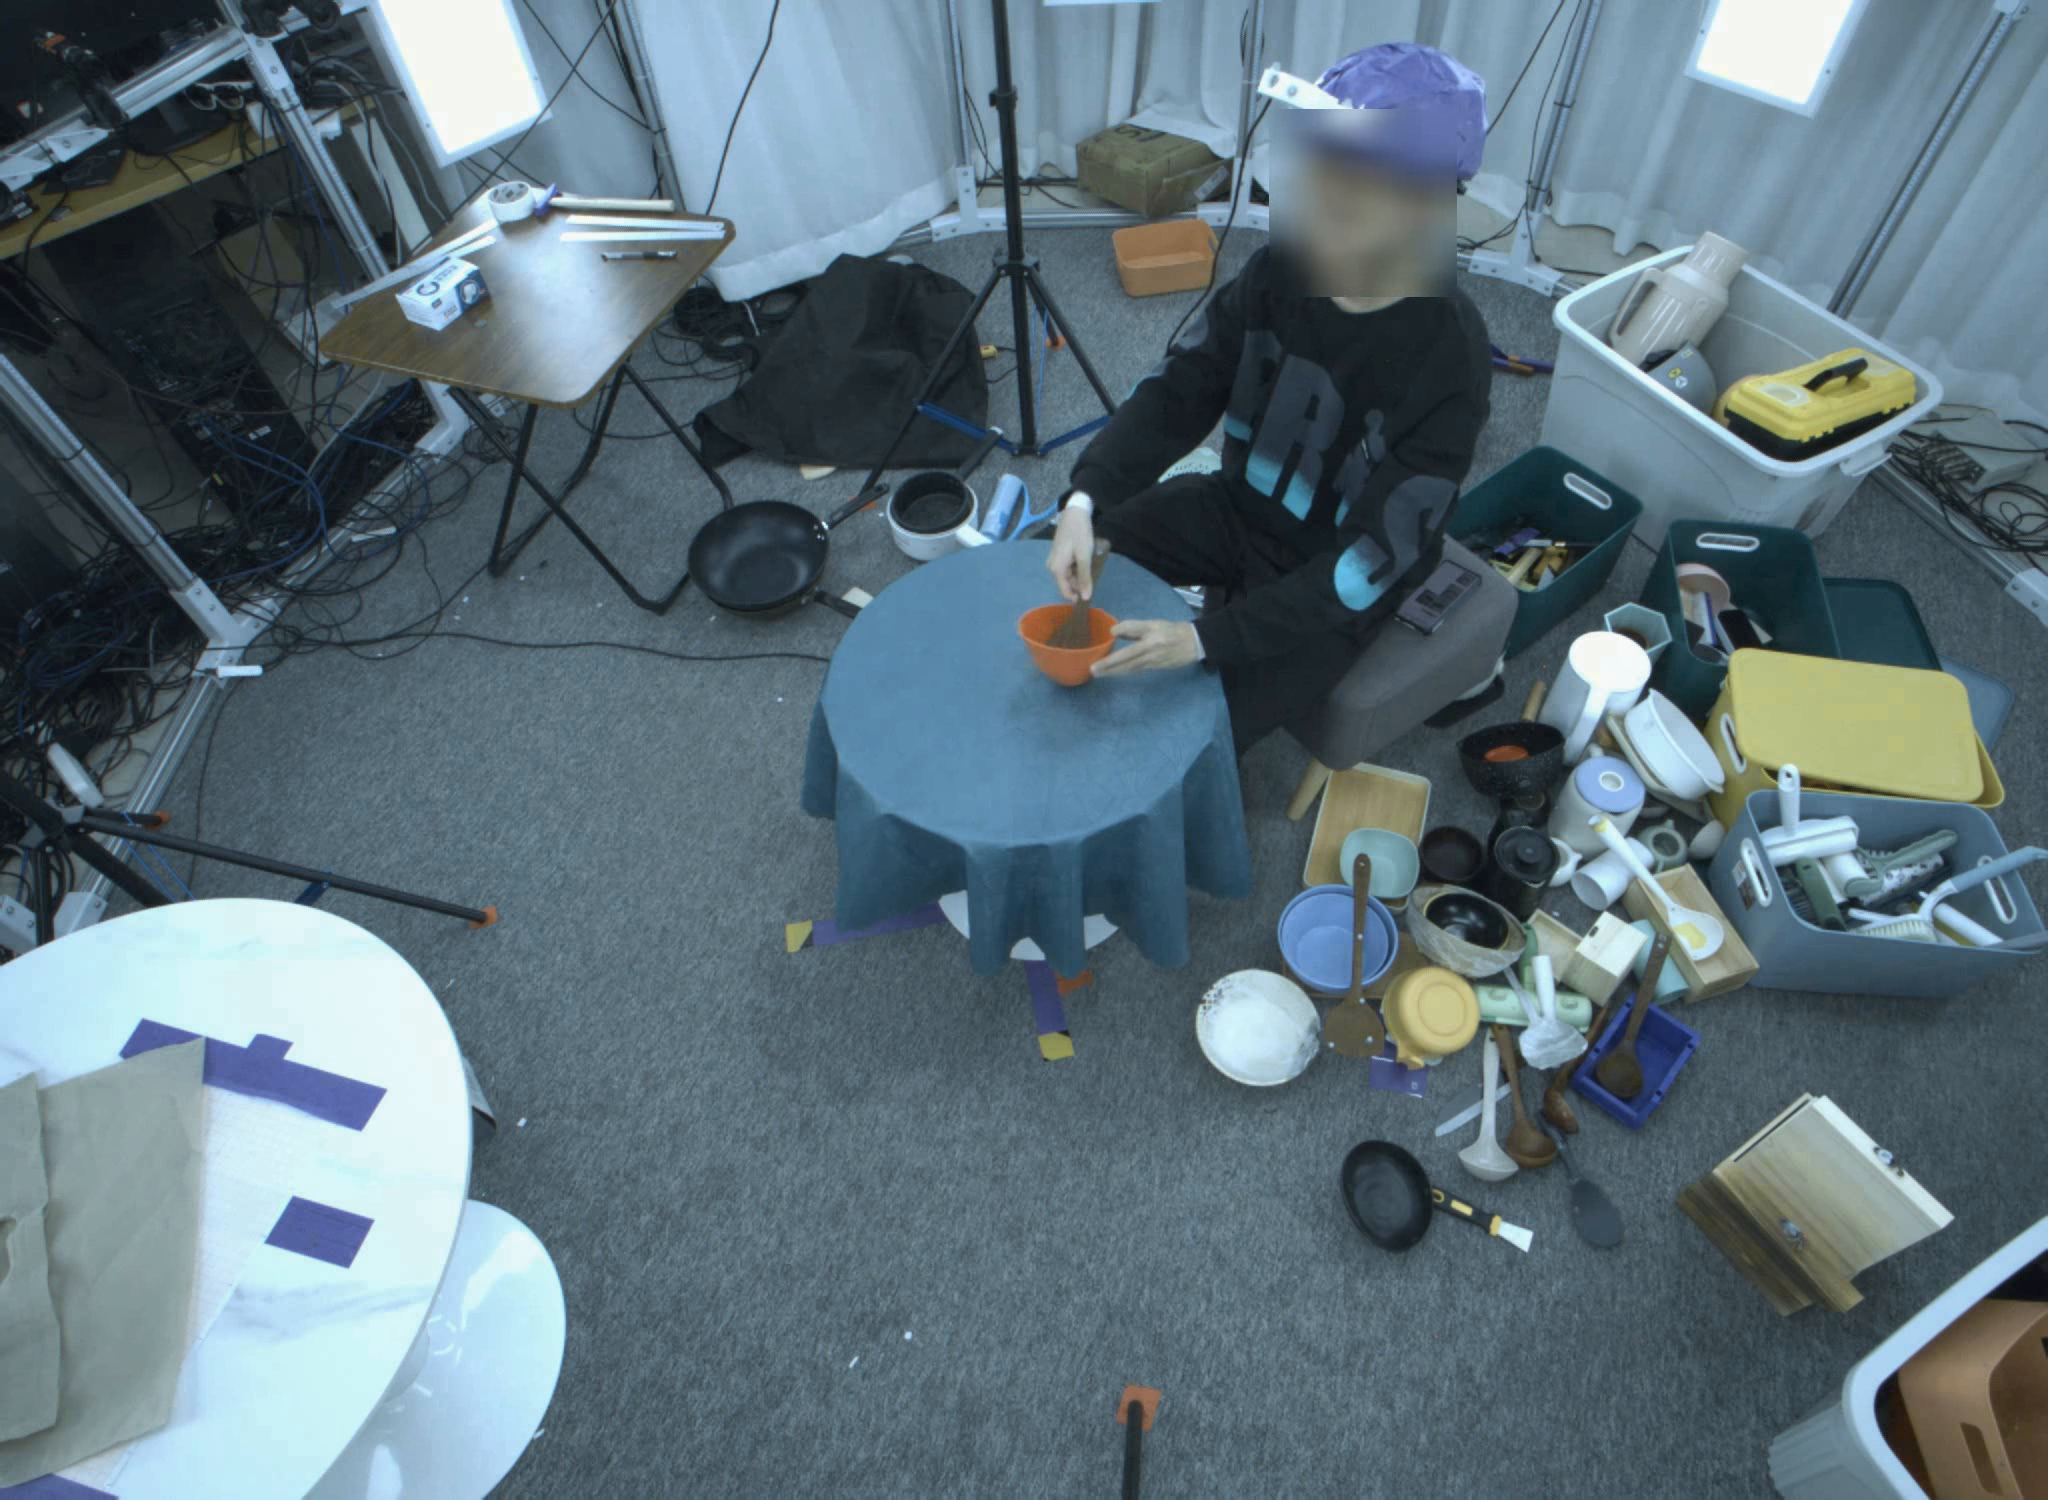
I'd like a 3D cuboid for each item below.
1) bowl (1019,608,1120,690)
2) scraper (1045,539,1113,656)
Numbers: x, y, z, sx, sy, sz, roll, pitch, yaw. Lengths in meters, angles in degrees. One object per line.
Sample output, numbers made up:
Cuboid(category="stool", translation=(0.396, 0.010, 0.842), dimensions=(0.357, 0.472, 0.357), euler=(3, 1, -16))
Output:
Cuboid(category="bowl", translation=(0.067, -0.142, 1.815), dimensions=(0.148, 0.106, 0.146), euler=(1, 43, 1))
Cuboid(category="scraper", translation=(0.088, -0.207, 1.812), dimensions=(0.076, 0.011, 0.211), euler=(17, 99, 0))
